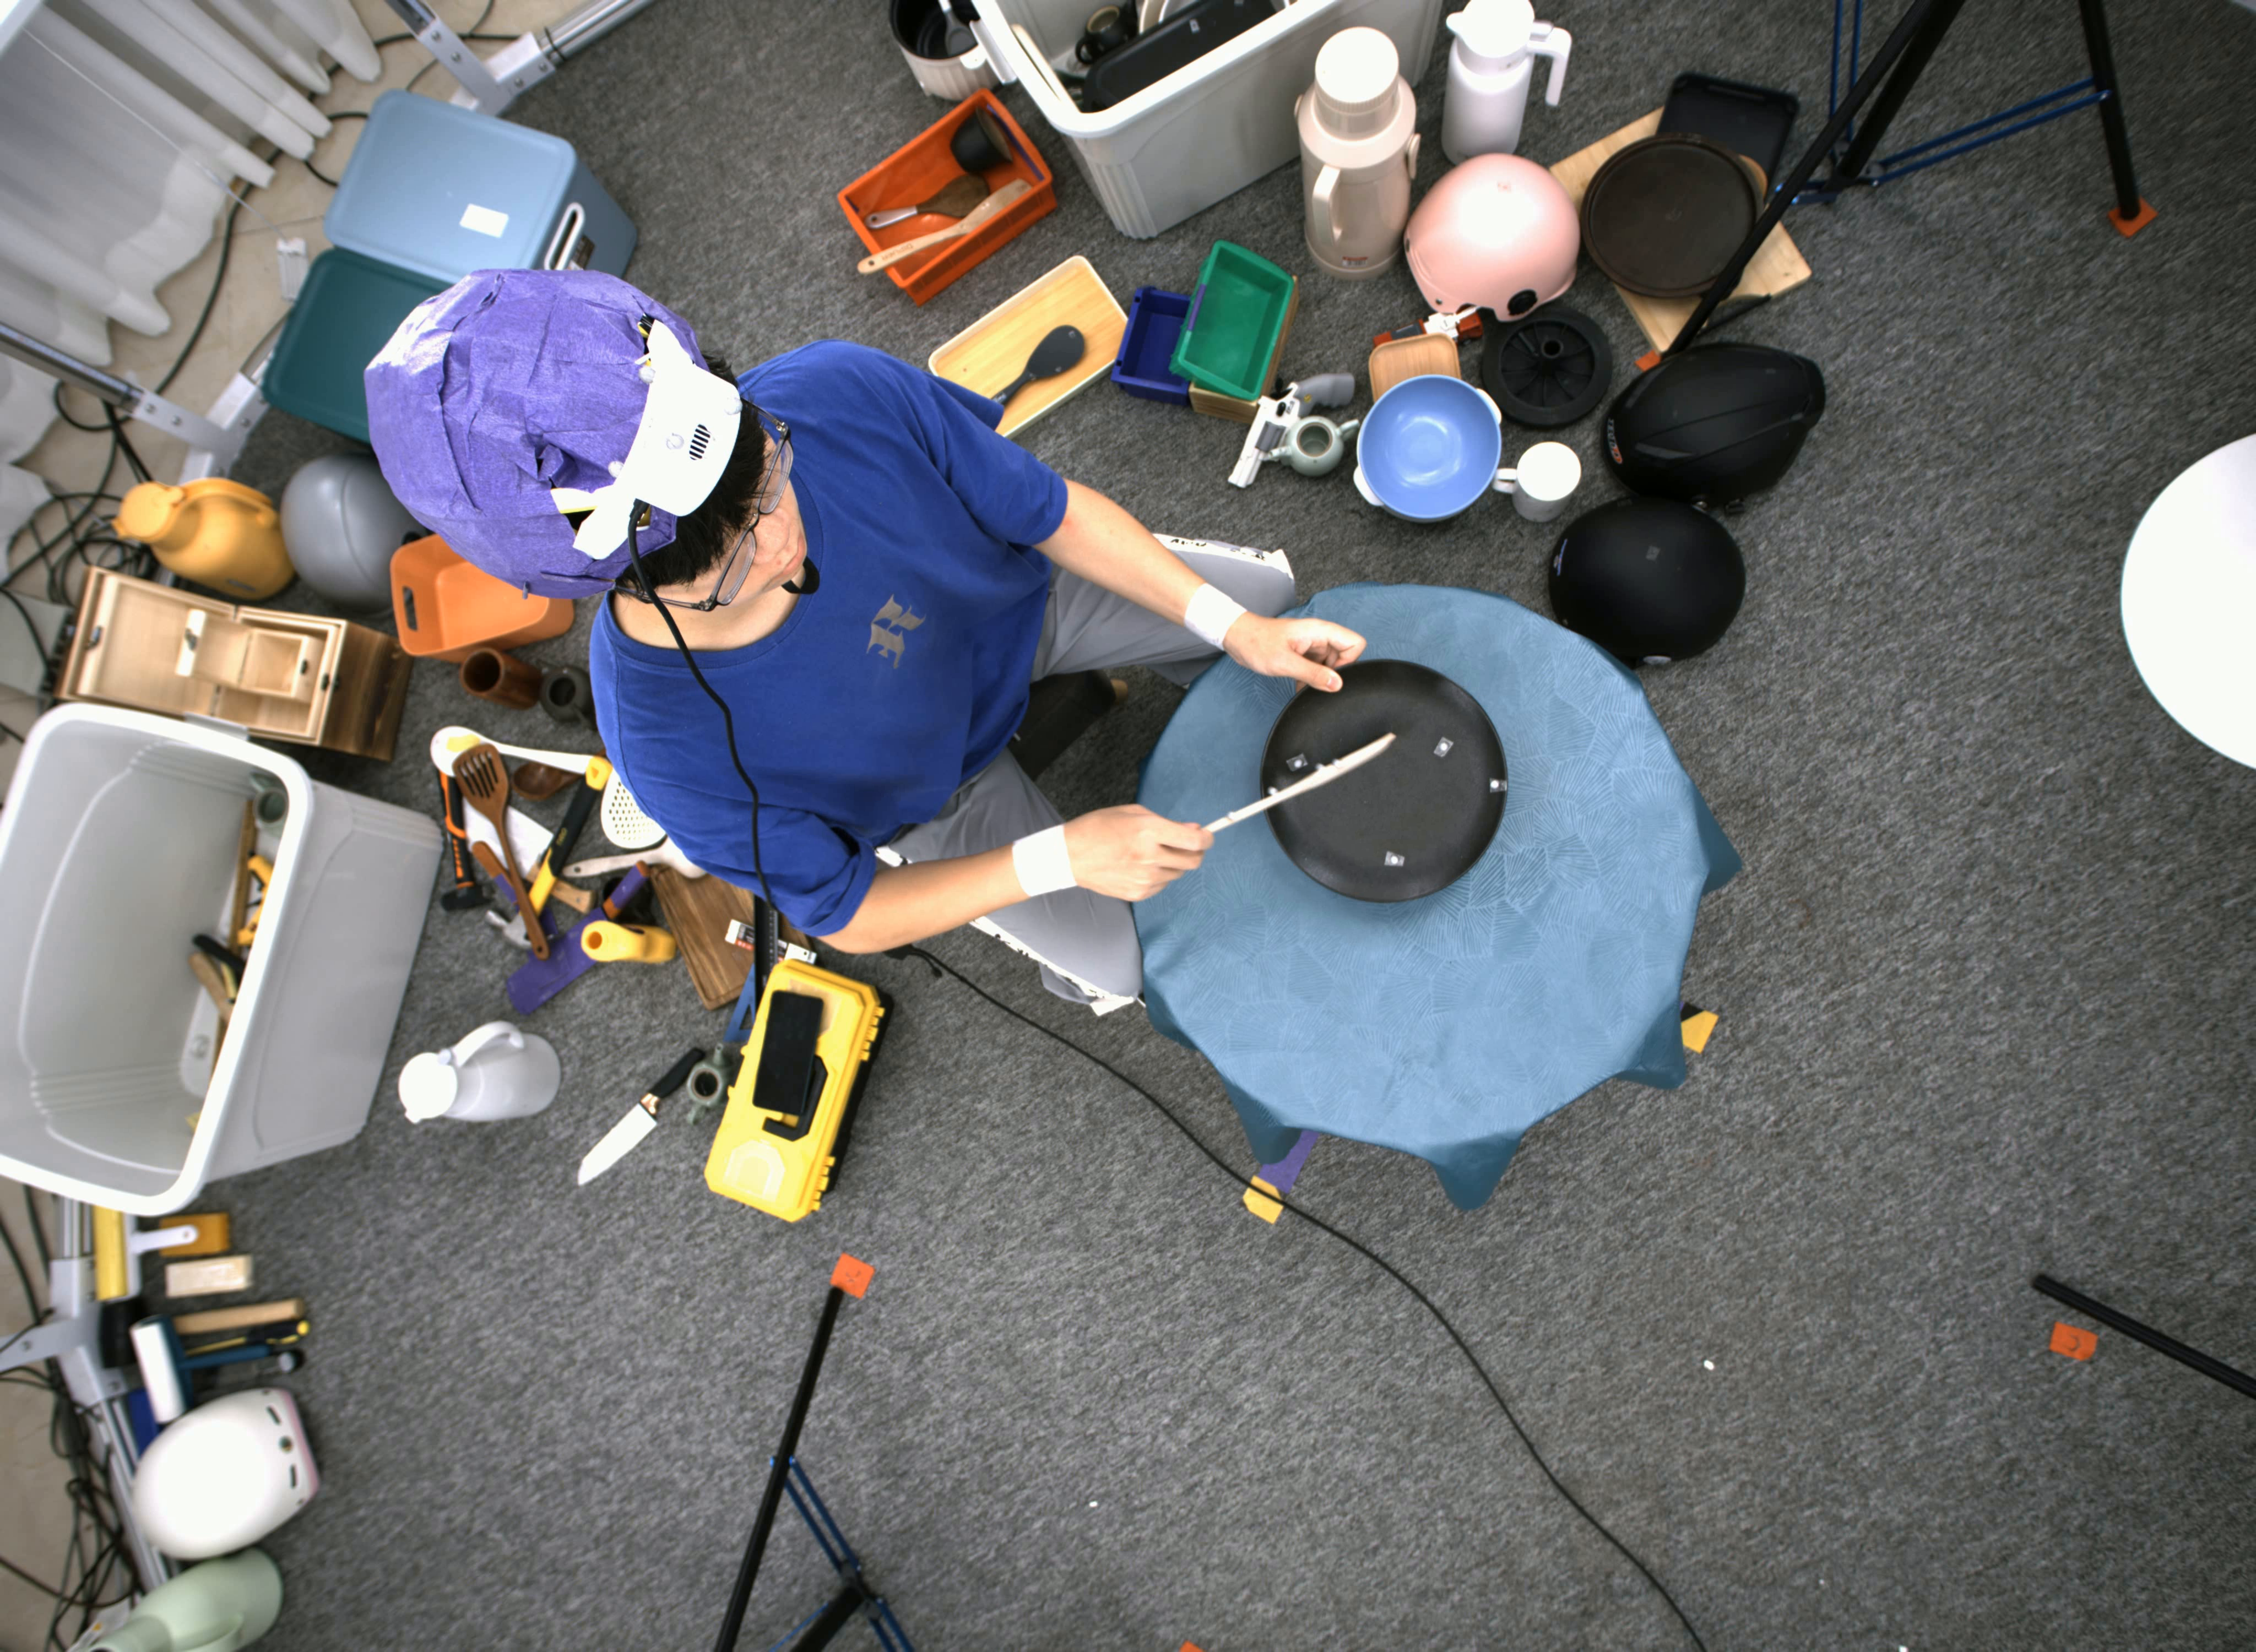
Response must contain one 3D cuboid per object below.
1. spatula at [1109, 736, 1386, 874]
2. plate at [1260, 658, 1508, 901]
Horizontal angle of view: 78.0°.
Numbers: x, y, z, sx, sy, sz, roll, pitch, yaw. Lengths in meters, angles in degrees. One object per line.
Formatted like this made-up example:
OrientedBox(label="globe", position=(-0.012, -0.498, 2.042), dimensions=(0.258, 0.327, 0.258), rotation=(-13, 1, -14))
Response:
OrientedBox(label="spatula", position=(0.115, -0.018, 1.332), dimensions=(0.294, 0.072, 0.010), rotation=(-26, 84, 3))
OrientedBox(label="plate", position=(0.252, -0.046, 1.363), dimensions=(0.245, 0.023, 0.247), rotation=(4, 105, 16))
